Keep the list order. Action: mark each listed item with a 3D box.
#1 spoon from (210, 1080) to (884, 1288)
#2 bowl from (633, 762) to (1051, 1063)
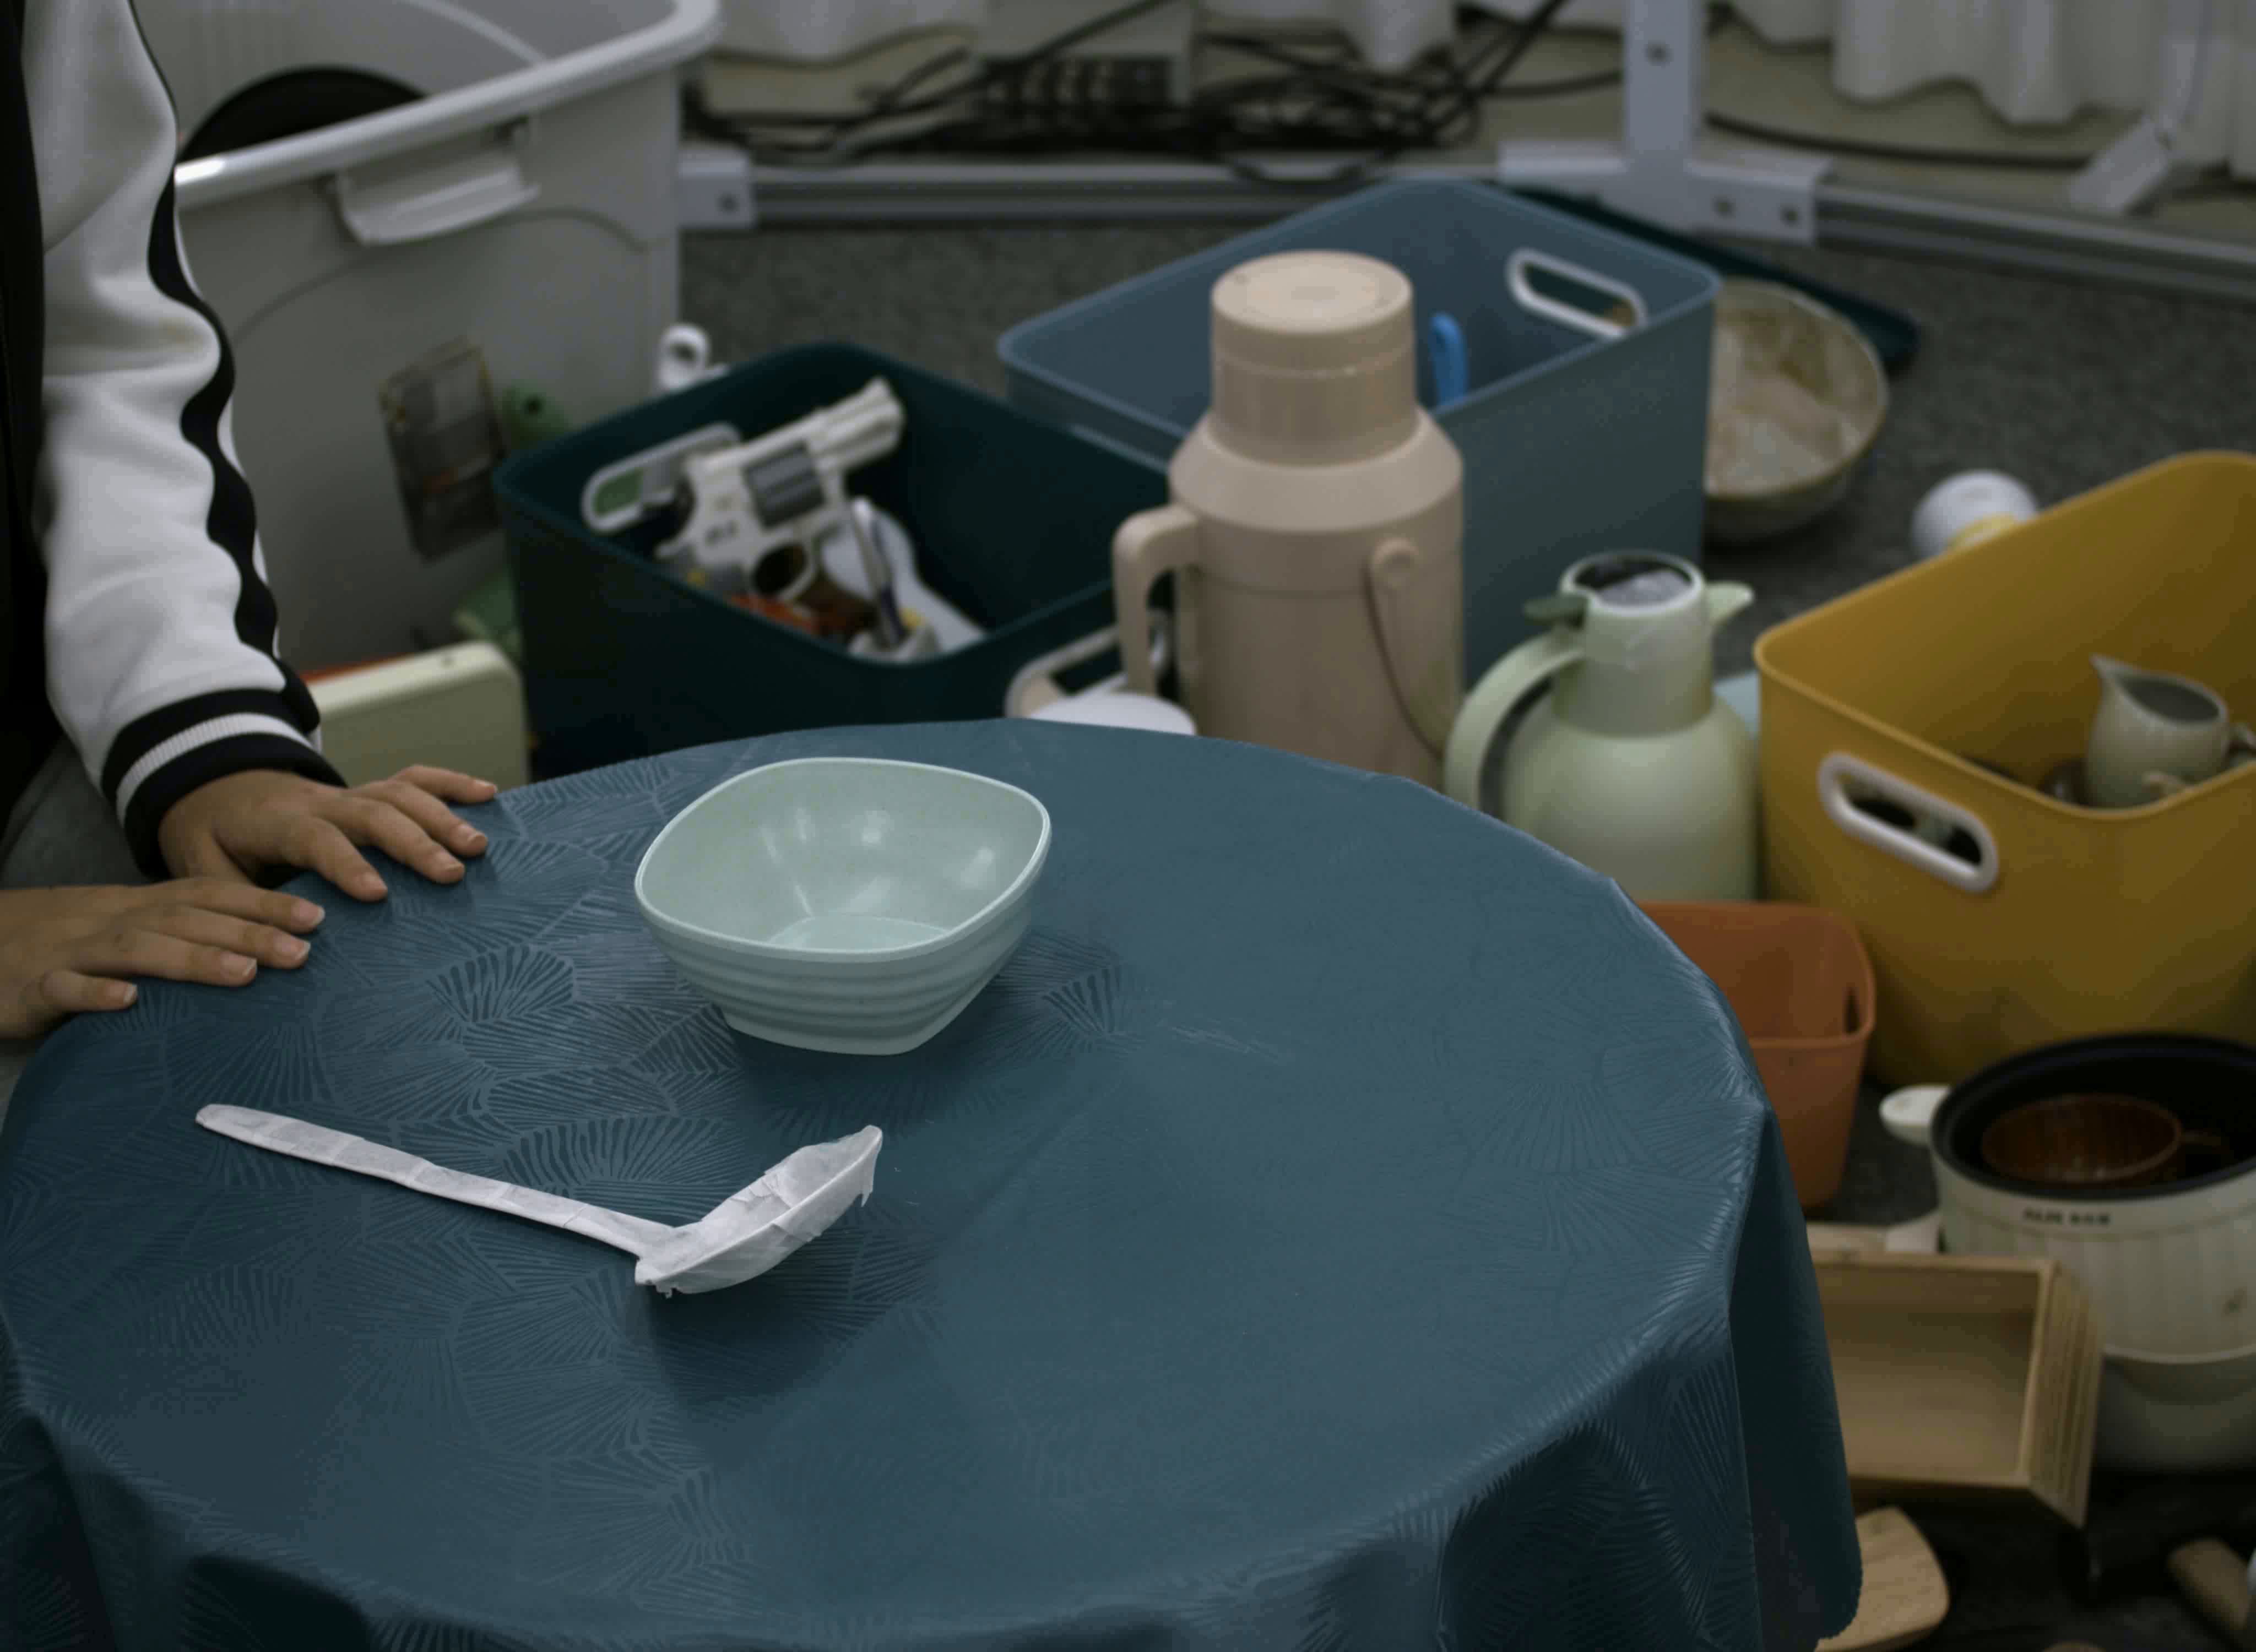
[{"bbox_3d":[-0.199,0.099,1.863,0.276,0.059,0.102,16,28,31],"label":"spoon"},{"bbox_3d":[-0.098,0.036,1.980,0.151,0.058,0.154,-2,28,1],"label":"bowl"}]
